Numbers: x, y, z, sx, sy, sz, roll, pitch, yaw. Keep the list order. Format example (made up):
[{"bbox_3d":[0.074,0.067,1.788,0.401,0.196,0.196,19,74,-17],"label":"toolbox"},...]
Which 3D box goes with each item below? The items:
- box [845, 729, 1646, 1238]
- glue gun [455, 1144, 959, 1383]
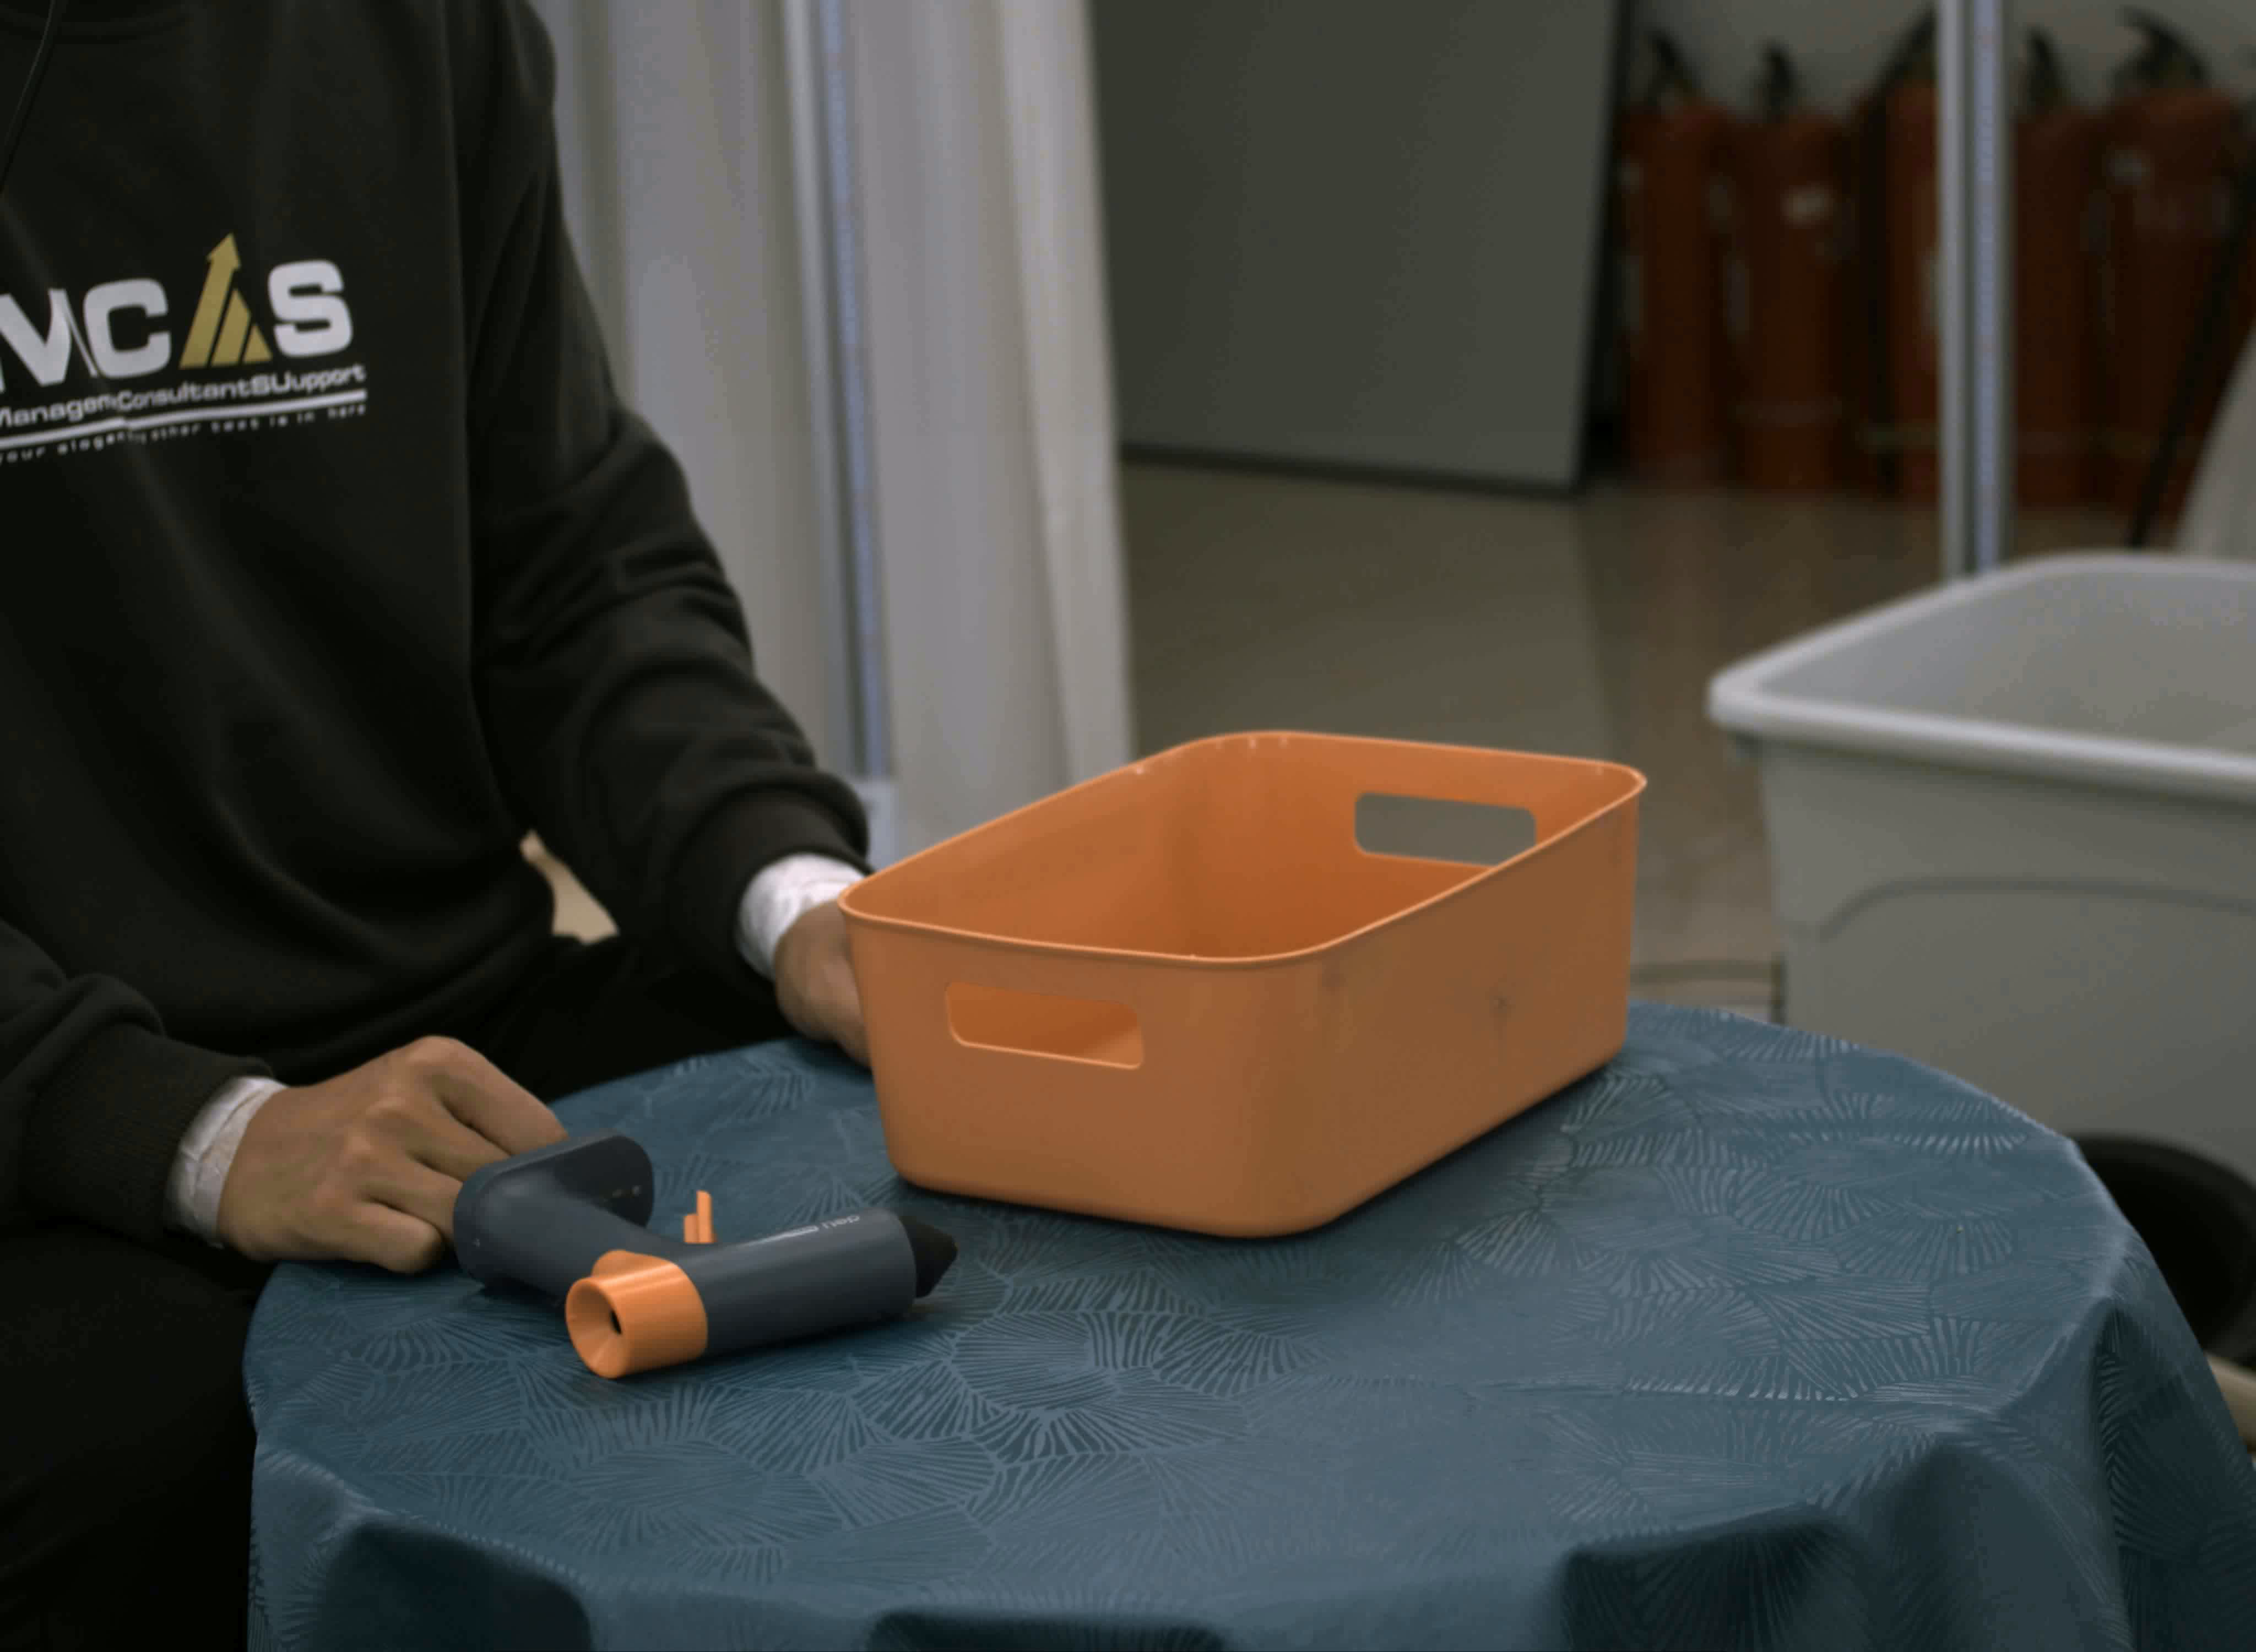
[{"bbox_3d":[0.045,0.051,1.835,0.200,0.103,0.268,5,17,34],"label":"box"},{"bbox_3d":[-0.135,0.137,1.690,0.115,0.041,0.141,-13,19,-40],"label":"glue gun"}]
